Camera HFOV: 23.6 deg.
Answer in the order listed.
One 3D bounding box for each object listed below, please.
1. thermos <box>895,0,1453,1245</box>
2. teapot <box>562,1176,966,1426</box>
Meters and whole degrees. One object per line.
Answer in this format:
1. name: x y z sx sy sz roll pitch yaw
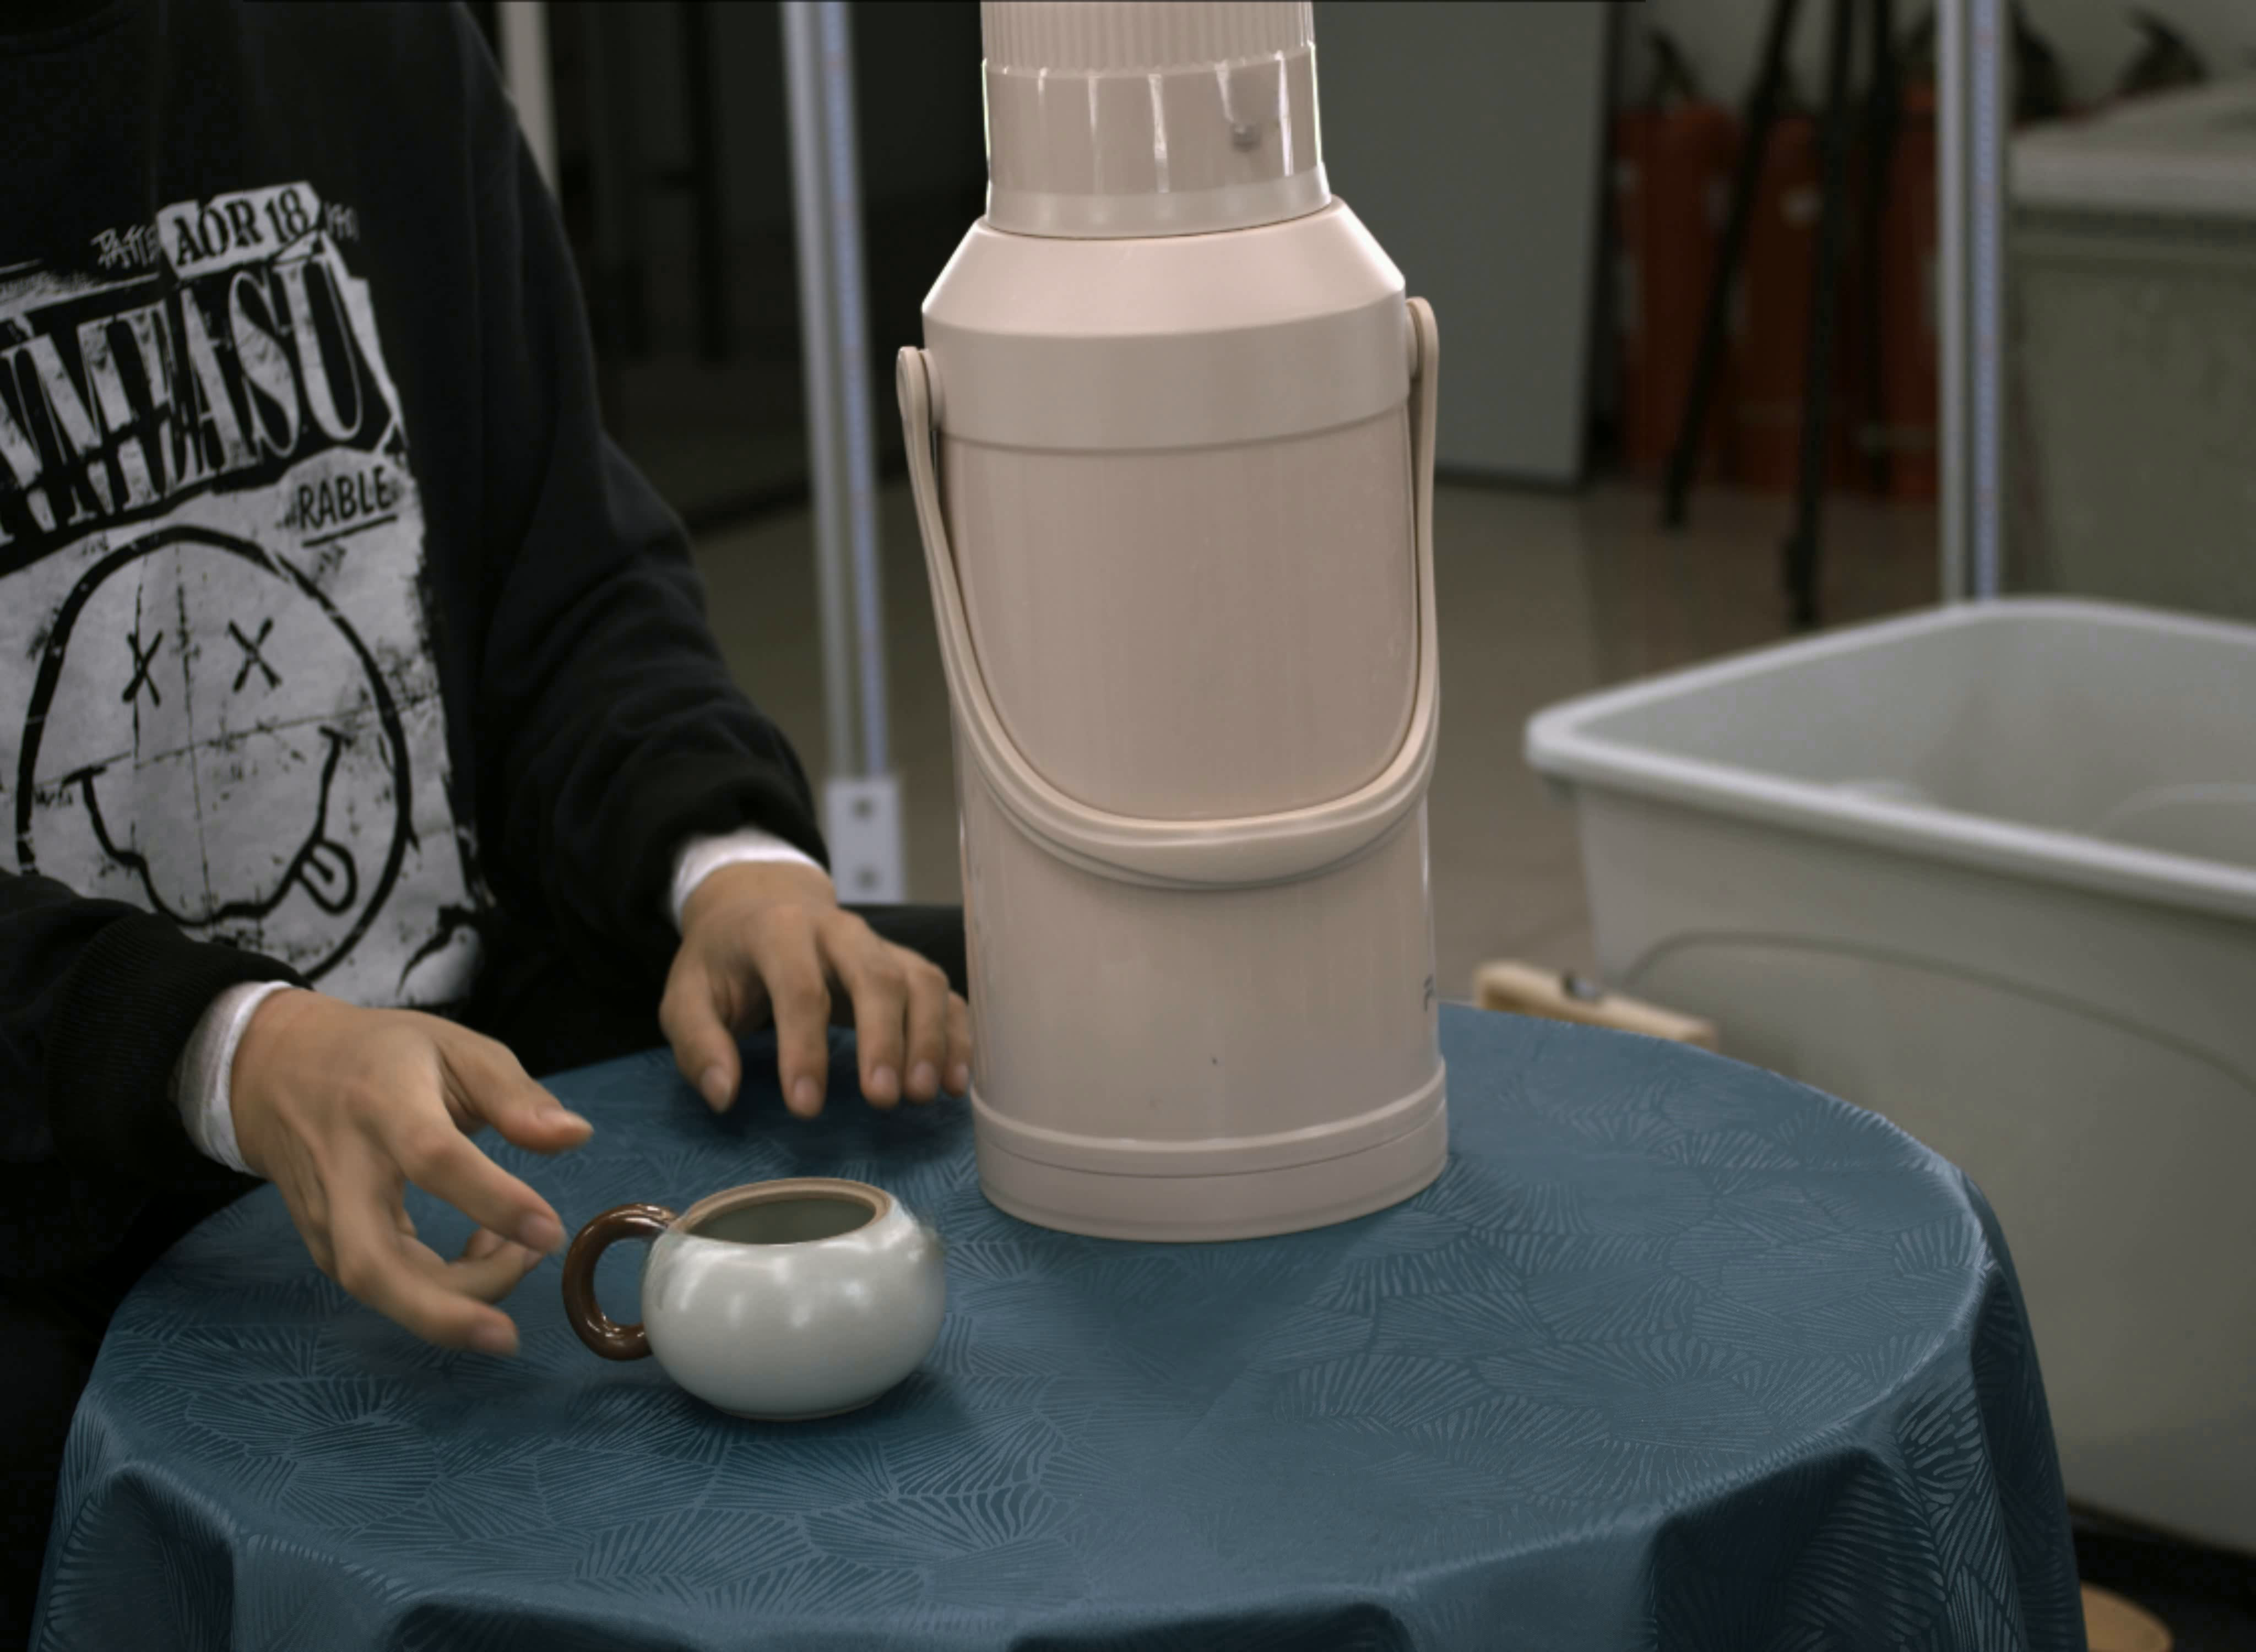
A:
1. thermos: 0.015 -0.083 1.762 0.172 0.410 0.208 -8 15 -12
2. teapot: -0.108 0.141 1.607 0.127 0.060 0.091 1 18 14
